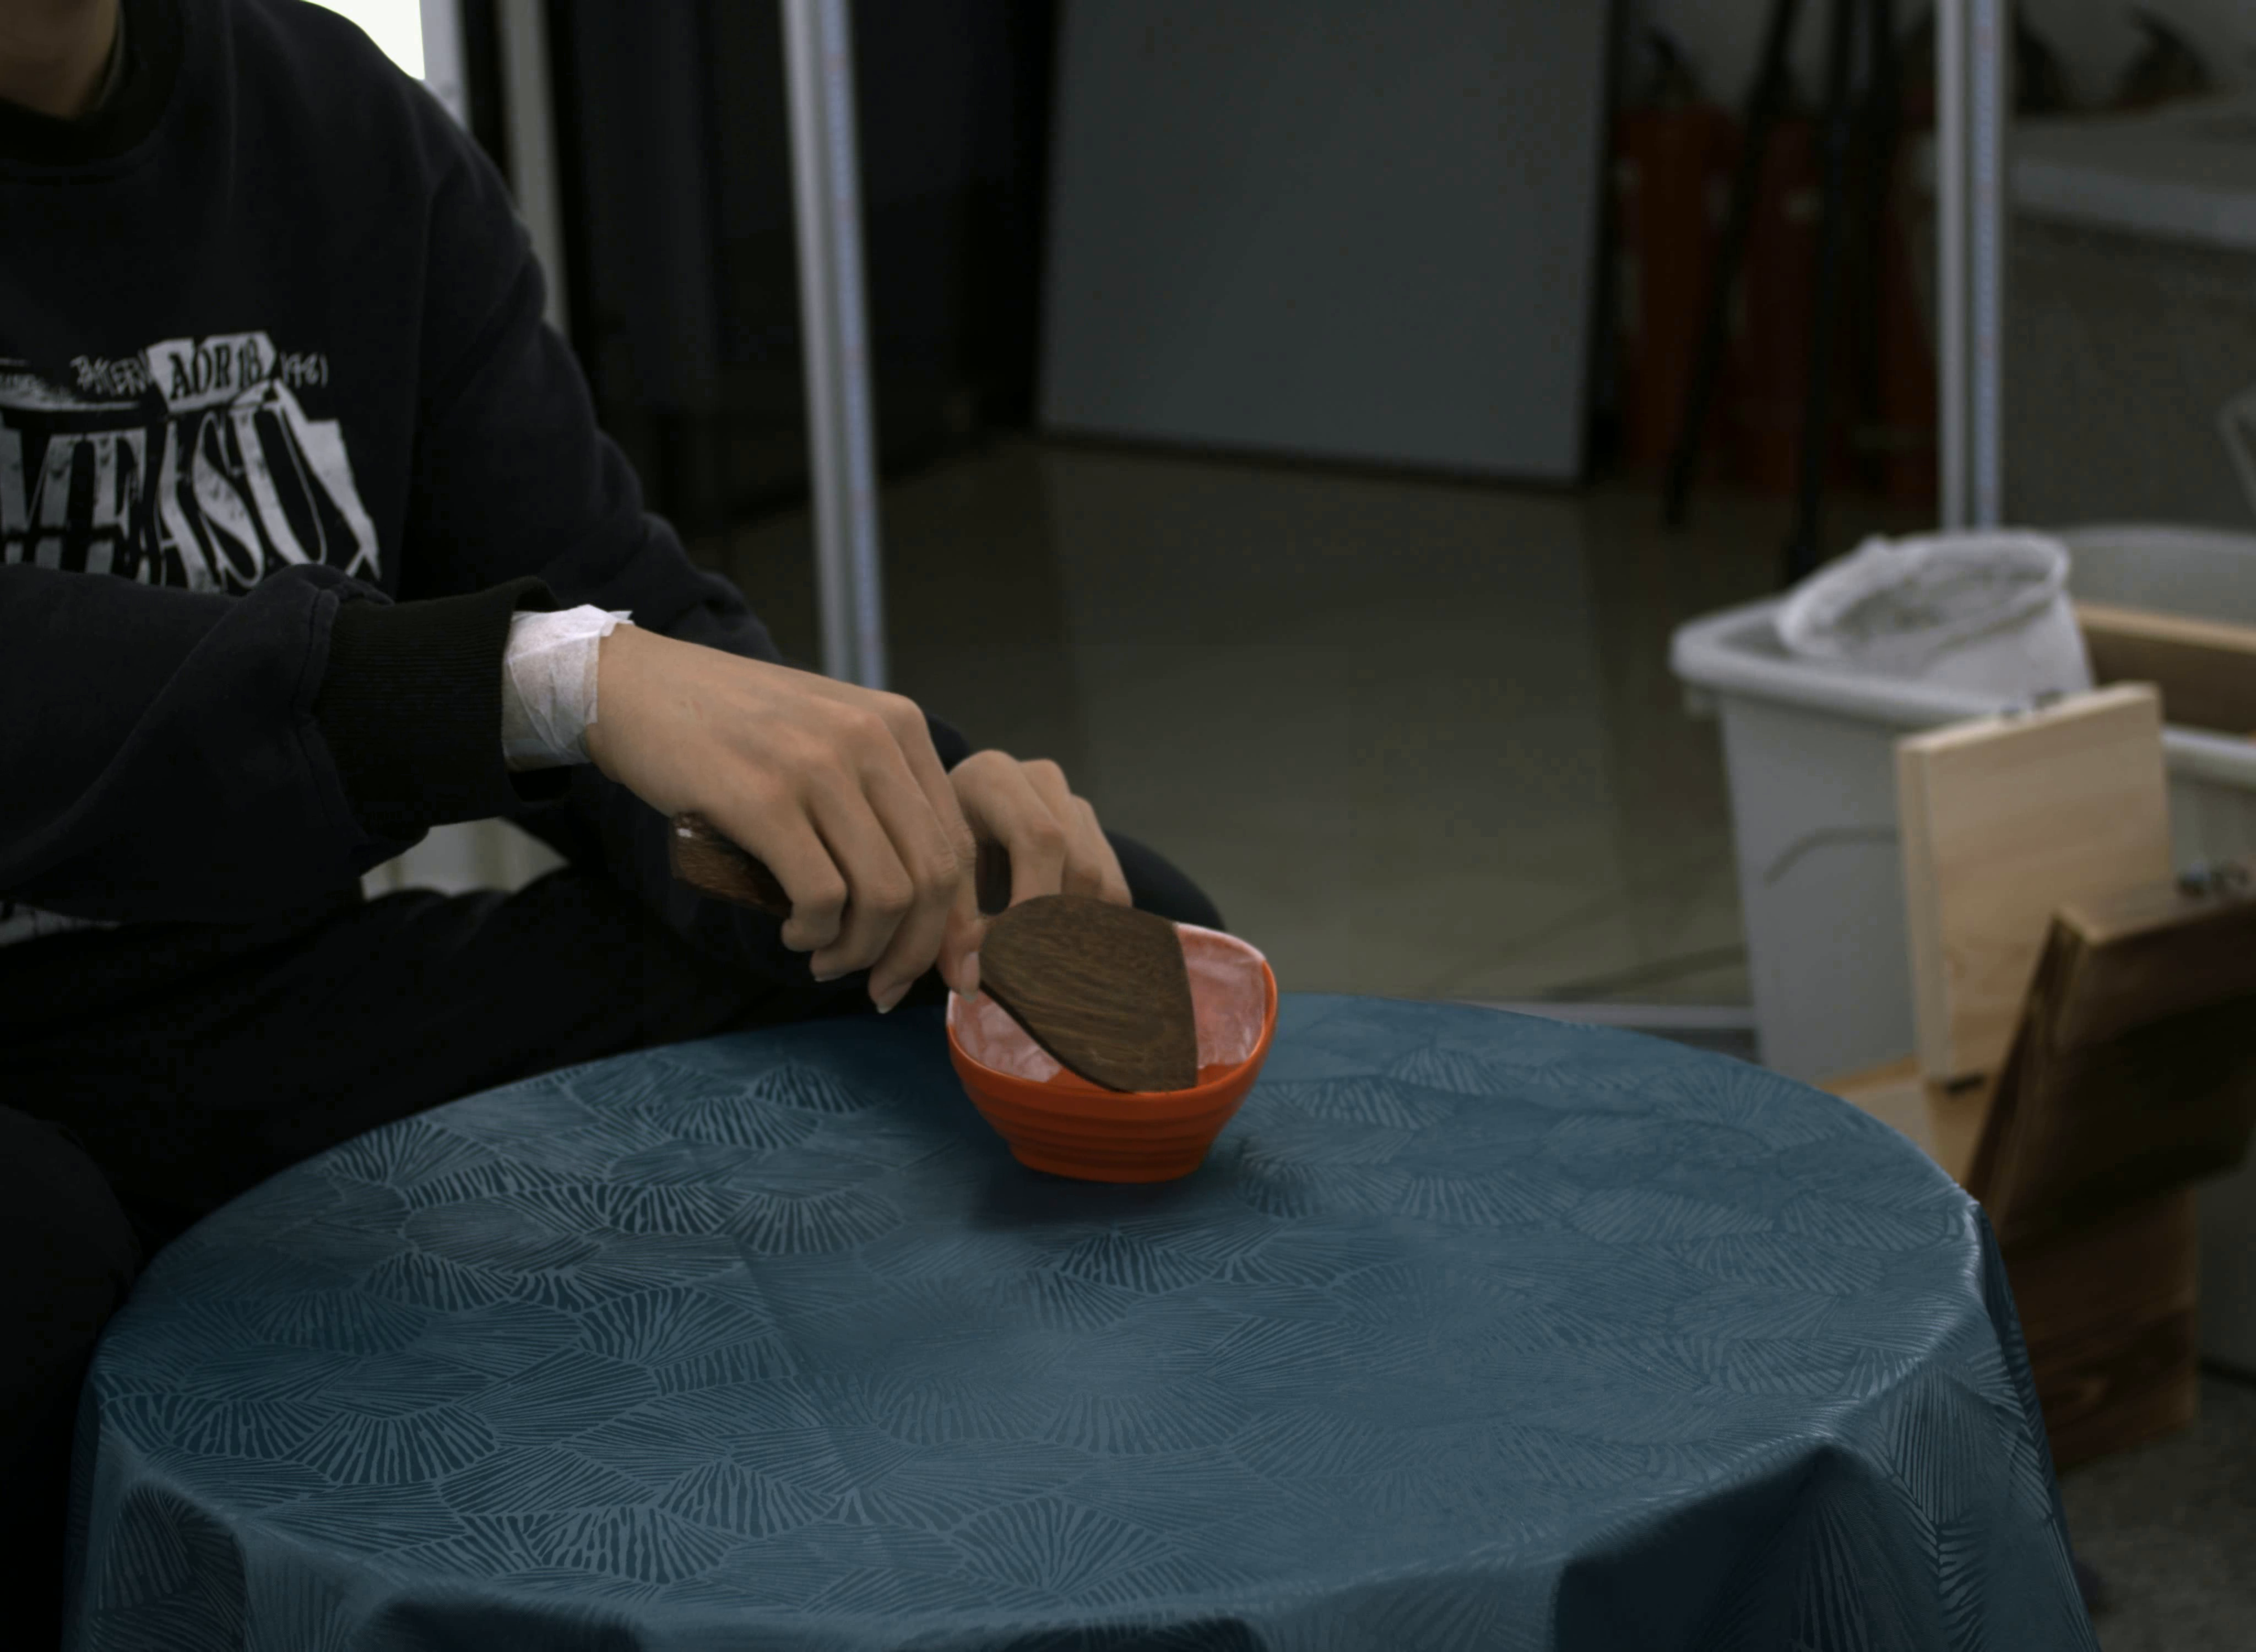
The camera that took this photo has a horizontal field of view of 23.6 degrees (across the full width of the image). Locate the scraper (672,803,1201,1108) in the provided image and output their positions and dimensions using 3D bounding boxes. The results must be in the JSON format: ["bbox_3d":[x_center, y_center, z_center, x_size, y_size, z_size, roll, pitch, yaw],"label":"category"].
[{"bbox_3d":[-0.060,0.033,1.715,0.207,0.077,0.011,21,-42,-34],"label":"scraper"}]

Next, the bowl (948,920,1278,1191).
[{"bbox_3d":[-0.005,0.081,1.796,0.117,0.052,0.119,-1,32,0],"label":"bowl"}]
